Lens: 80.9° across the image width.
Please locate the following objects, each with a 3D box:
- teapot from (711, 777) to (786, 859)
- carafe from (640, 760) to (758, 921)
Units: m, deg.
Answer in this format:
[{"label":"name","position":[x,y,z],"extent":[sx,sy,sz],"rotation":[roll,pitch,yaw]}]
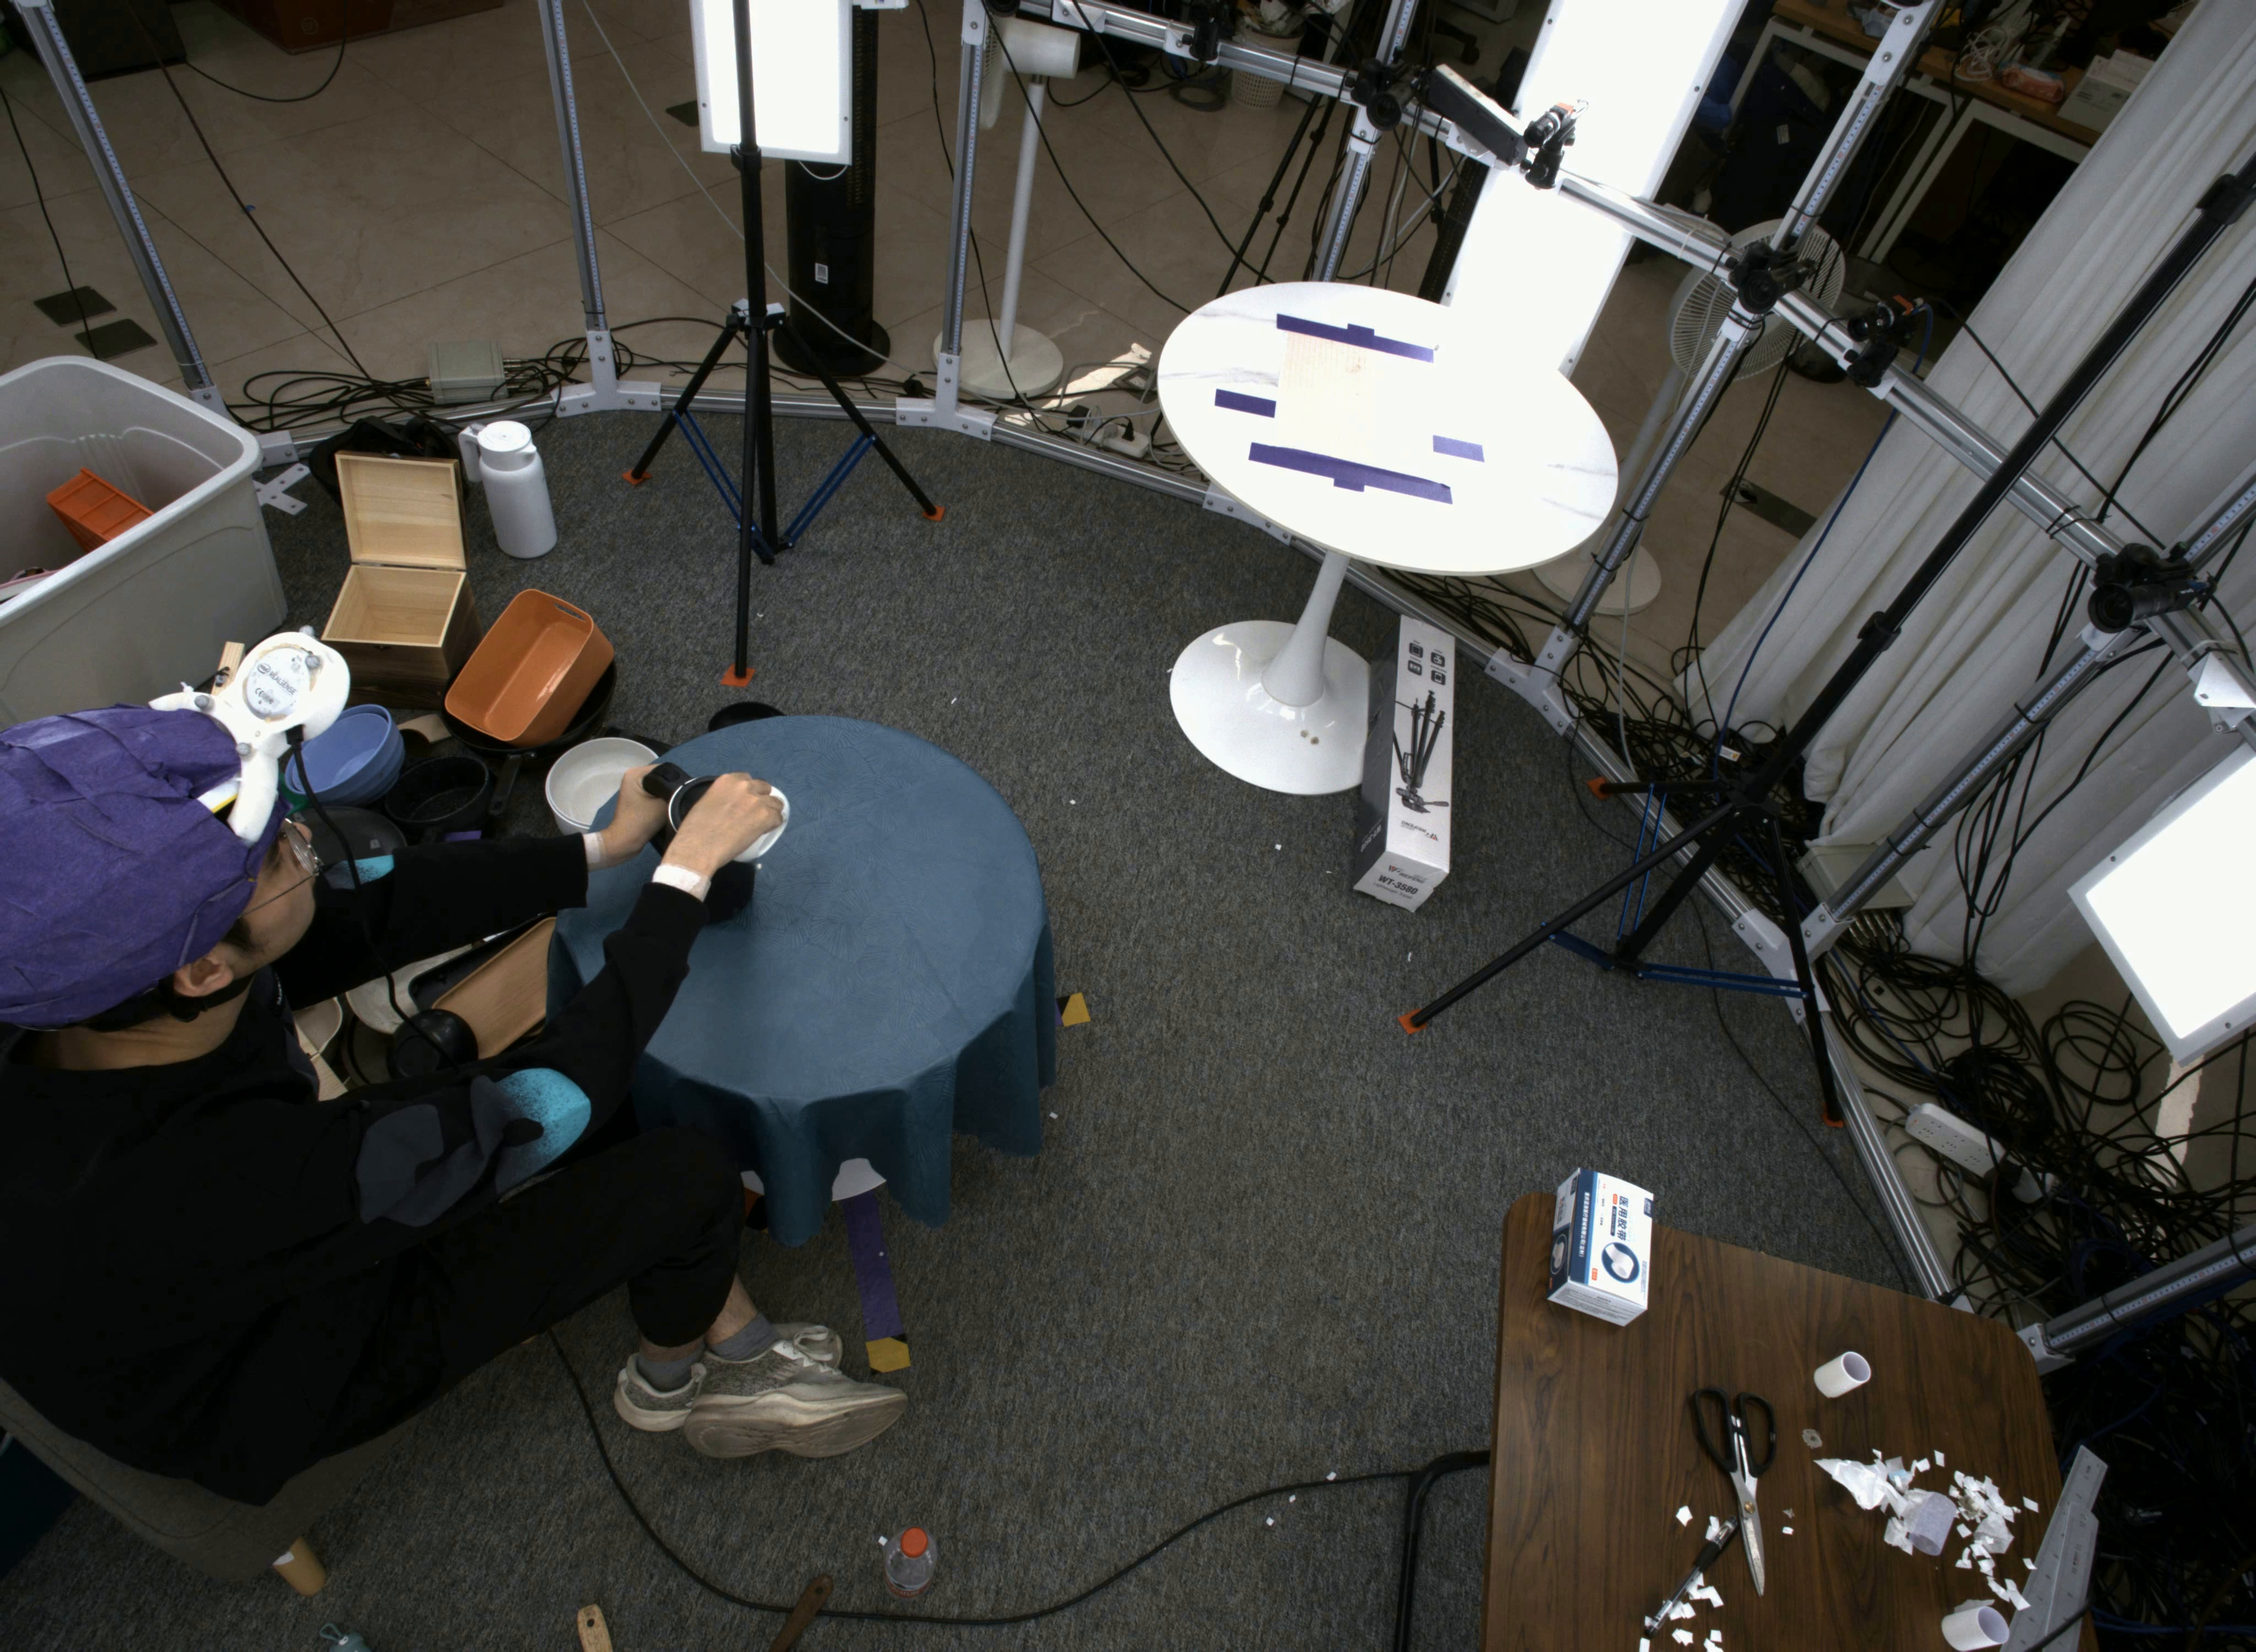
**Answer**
[{"label":"teapot","position":[-0.415,-0.014,1.418],"extent":[0.056,0.128,0.093],"rotation":[35,62,1]},{"label":"carafe","position":[-0.522,0.009,1.565],"extent":[0.170,0.175,0.114],"rotation":[37,52,4]}]
